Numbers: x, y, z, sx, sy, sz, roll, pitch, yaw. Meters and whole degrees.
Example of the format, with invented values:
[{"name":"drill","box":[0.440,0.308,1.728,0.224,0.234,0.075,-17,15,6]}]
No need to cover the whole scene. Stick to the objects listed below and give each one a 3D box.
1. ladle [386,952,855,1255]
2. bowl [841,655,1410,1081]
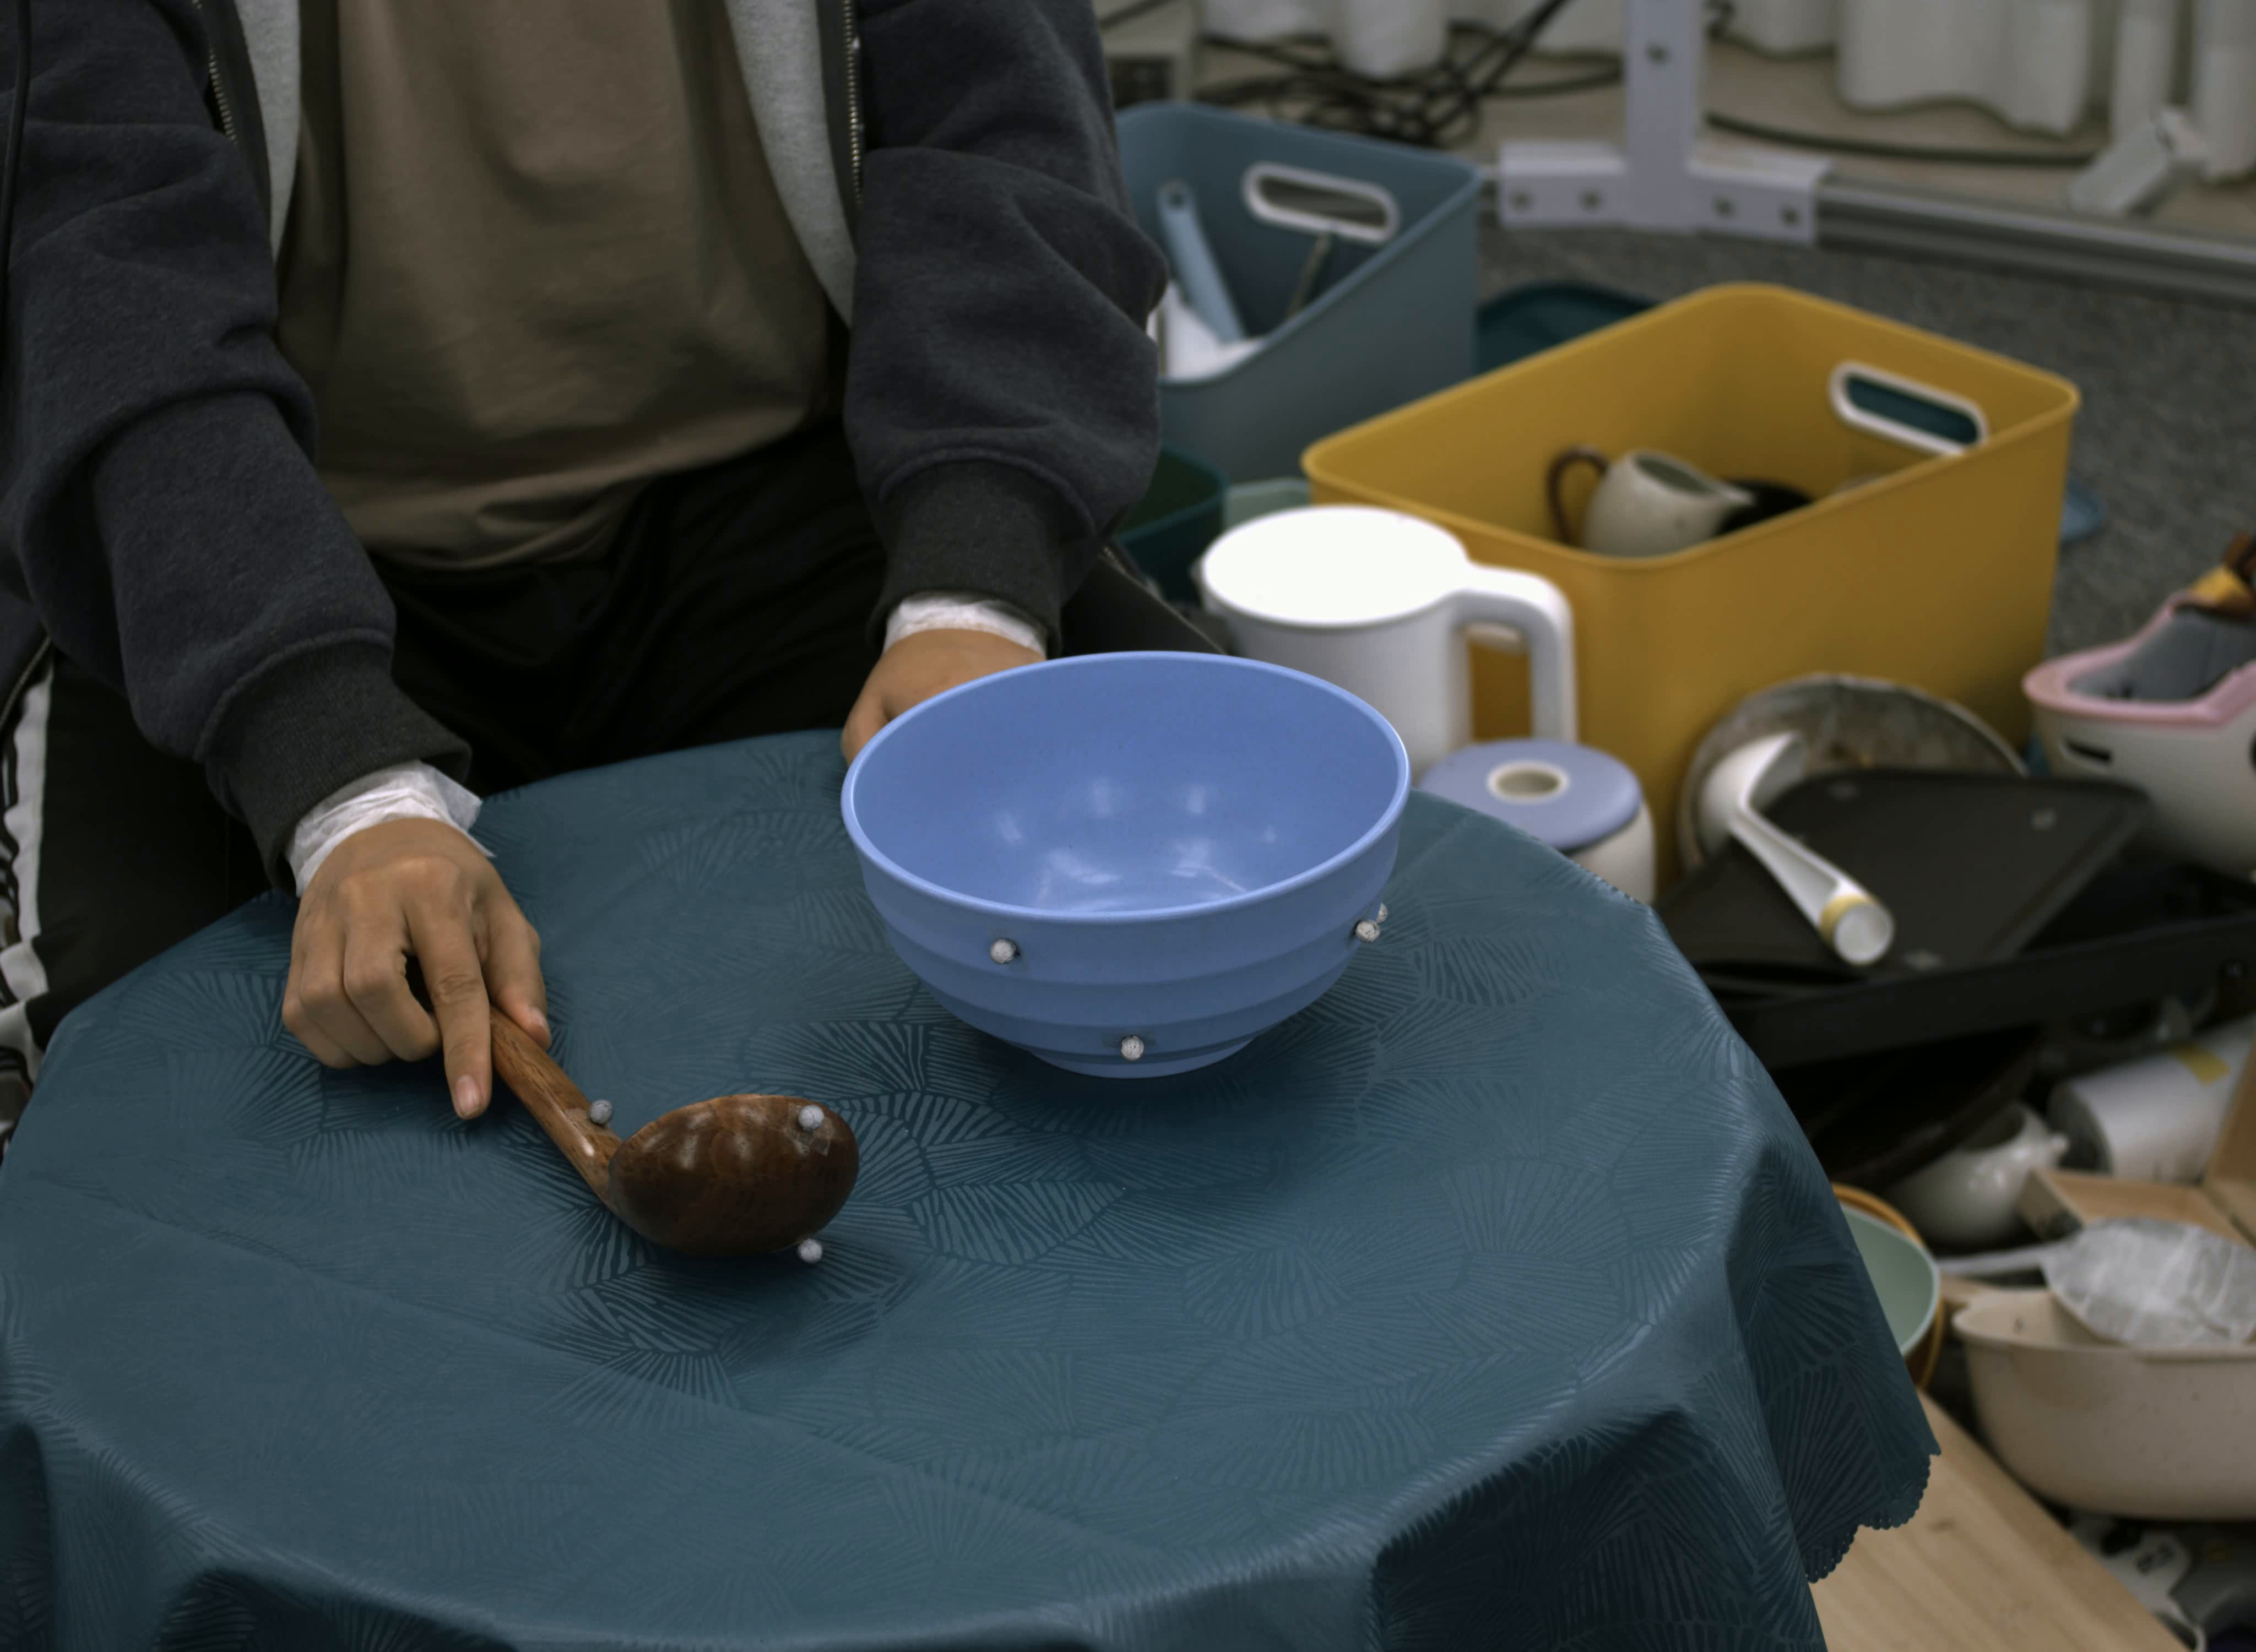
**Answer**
[{"name":"ladle","box":[-0.181,0.072,1.897,0.081,0.076,0.275,23,9,-36]},{"name":"bowl","box":[0.002,0.025,1.948,0.195,0.094,0.199,-3,27,2]}]
